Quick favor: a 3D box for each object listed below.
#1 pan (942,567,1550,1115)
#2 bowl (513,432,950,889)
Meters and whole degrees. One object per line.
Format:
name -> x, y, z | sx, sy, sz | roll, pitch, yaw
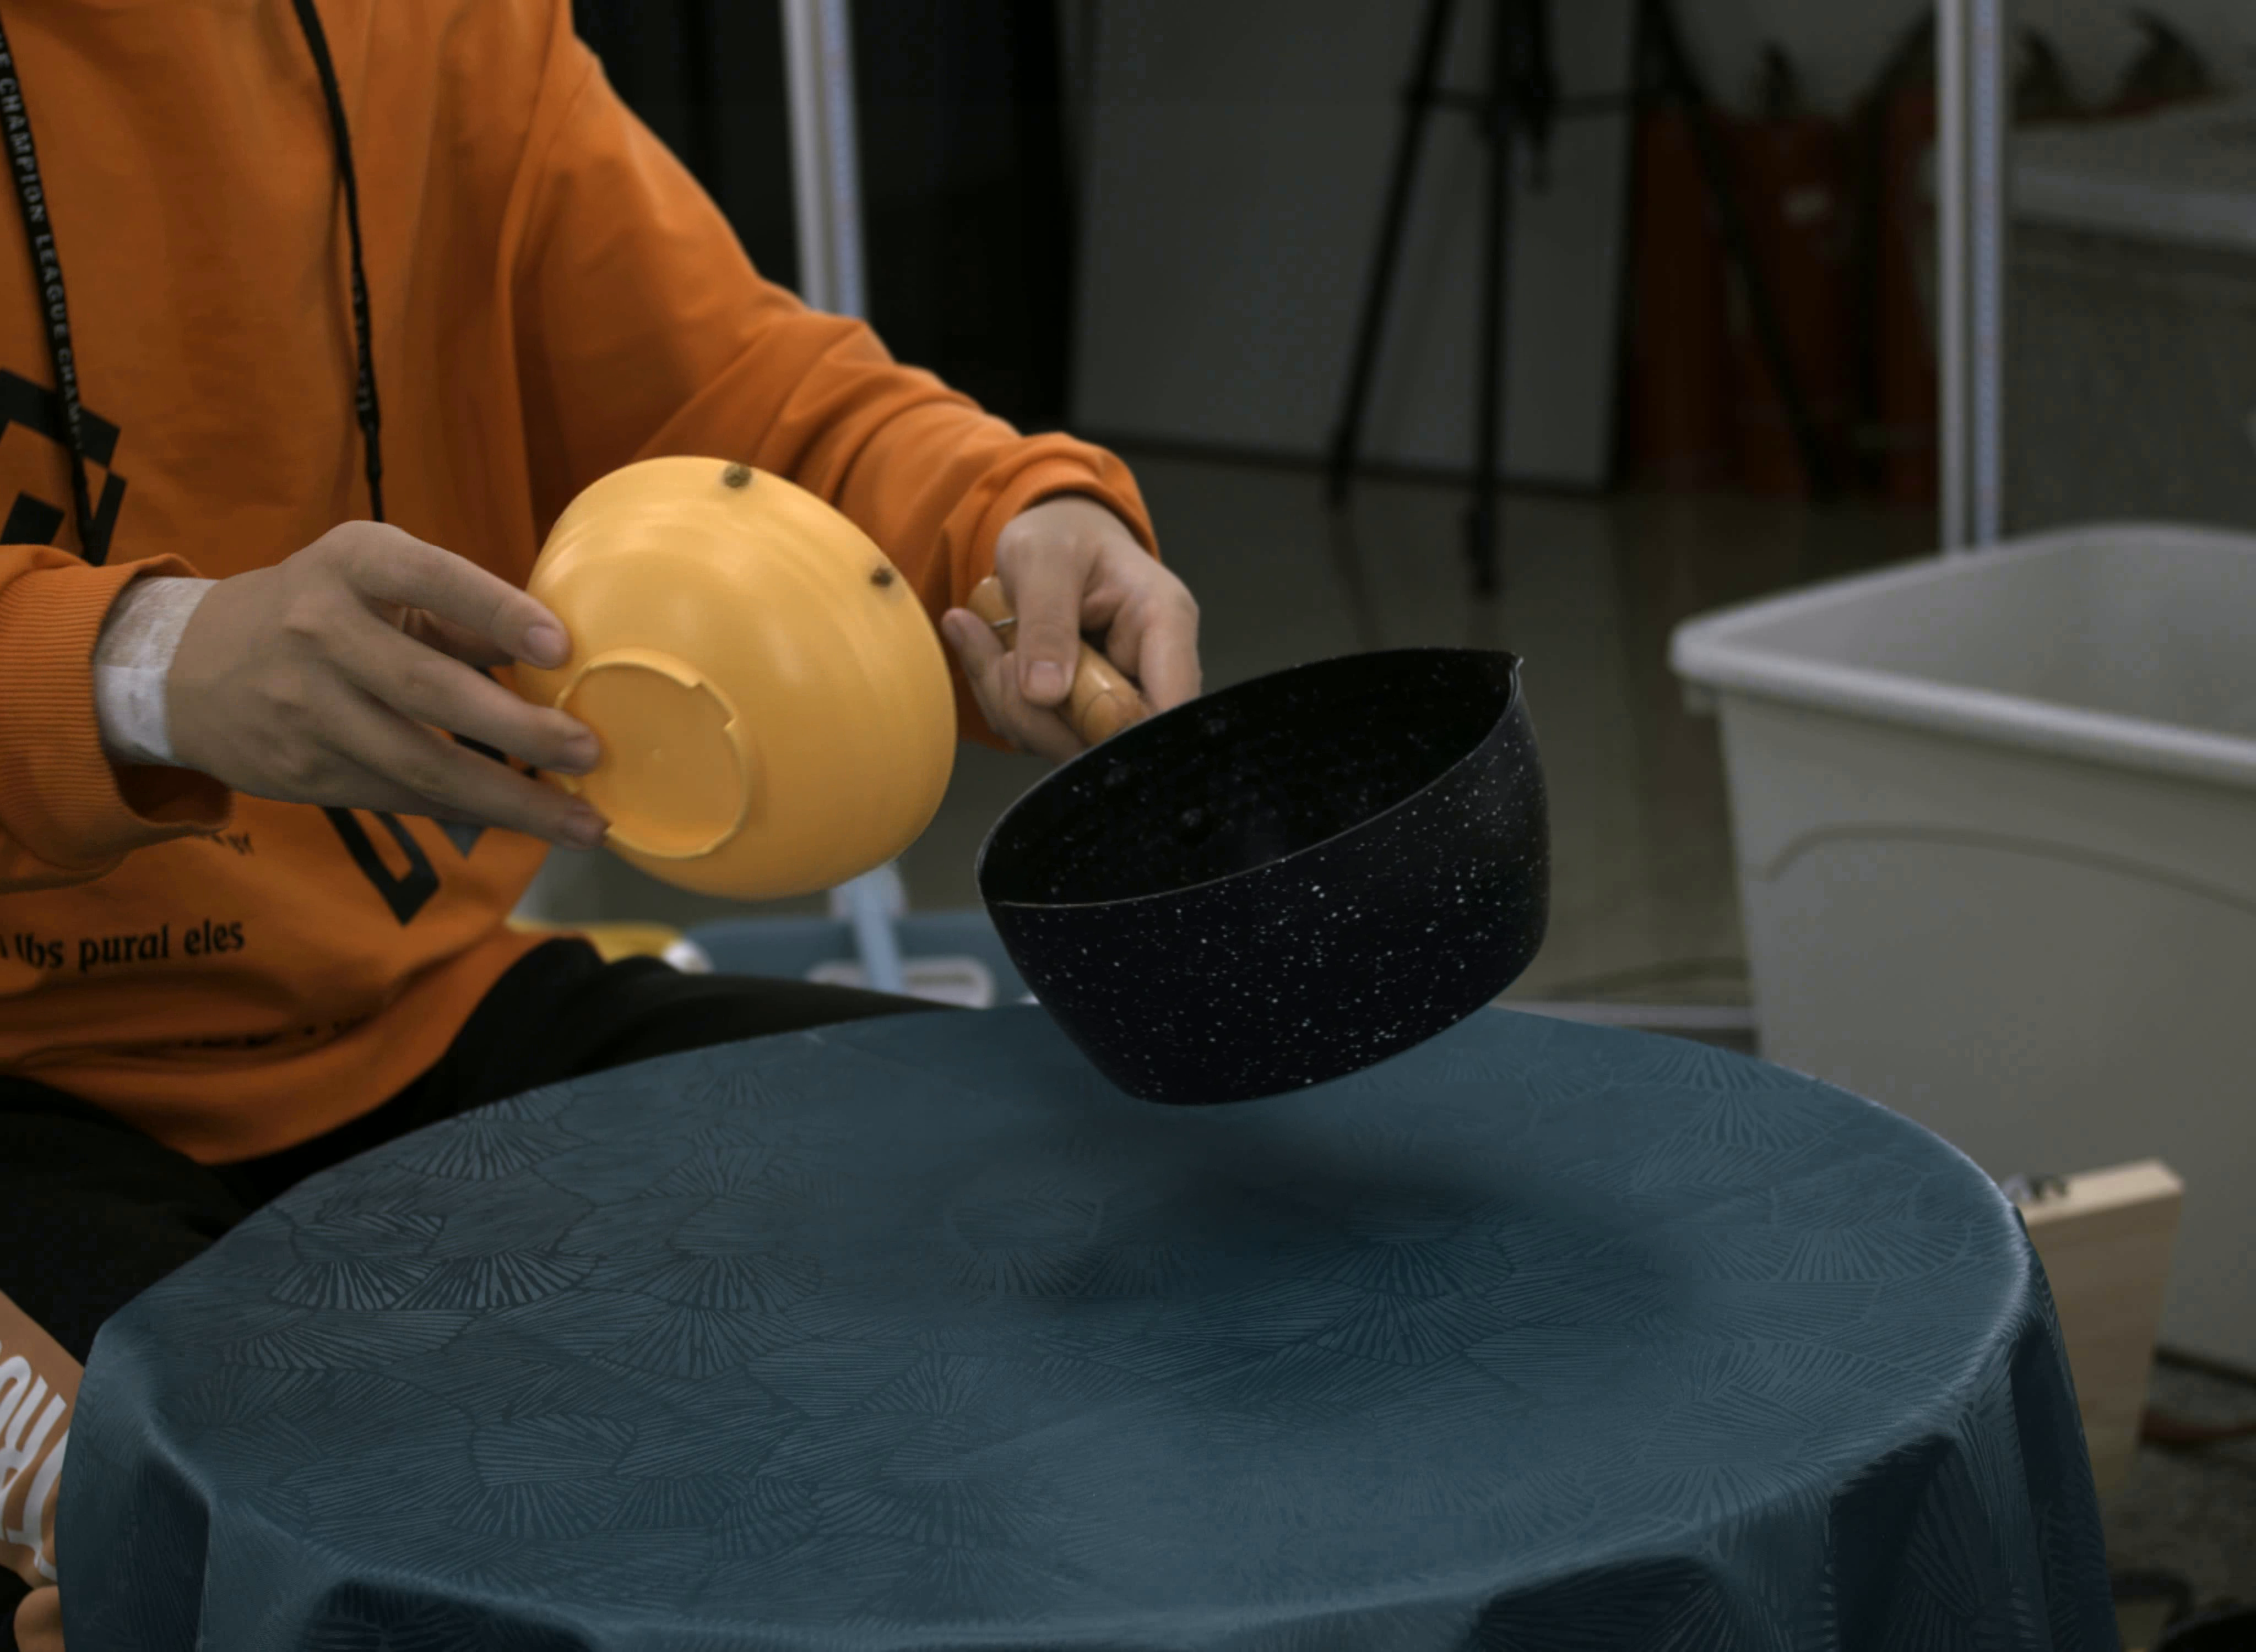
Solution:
pan -> 0.019, -0.007, 1.800 | 0.205, 0.108, 0.346 | -27, 19, -13
bowl -> -0.128, -0.037, 1.590 | 0.146, 0.146, 0.059 | 4, 29, 29
